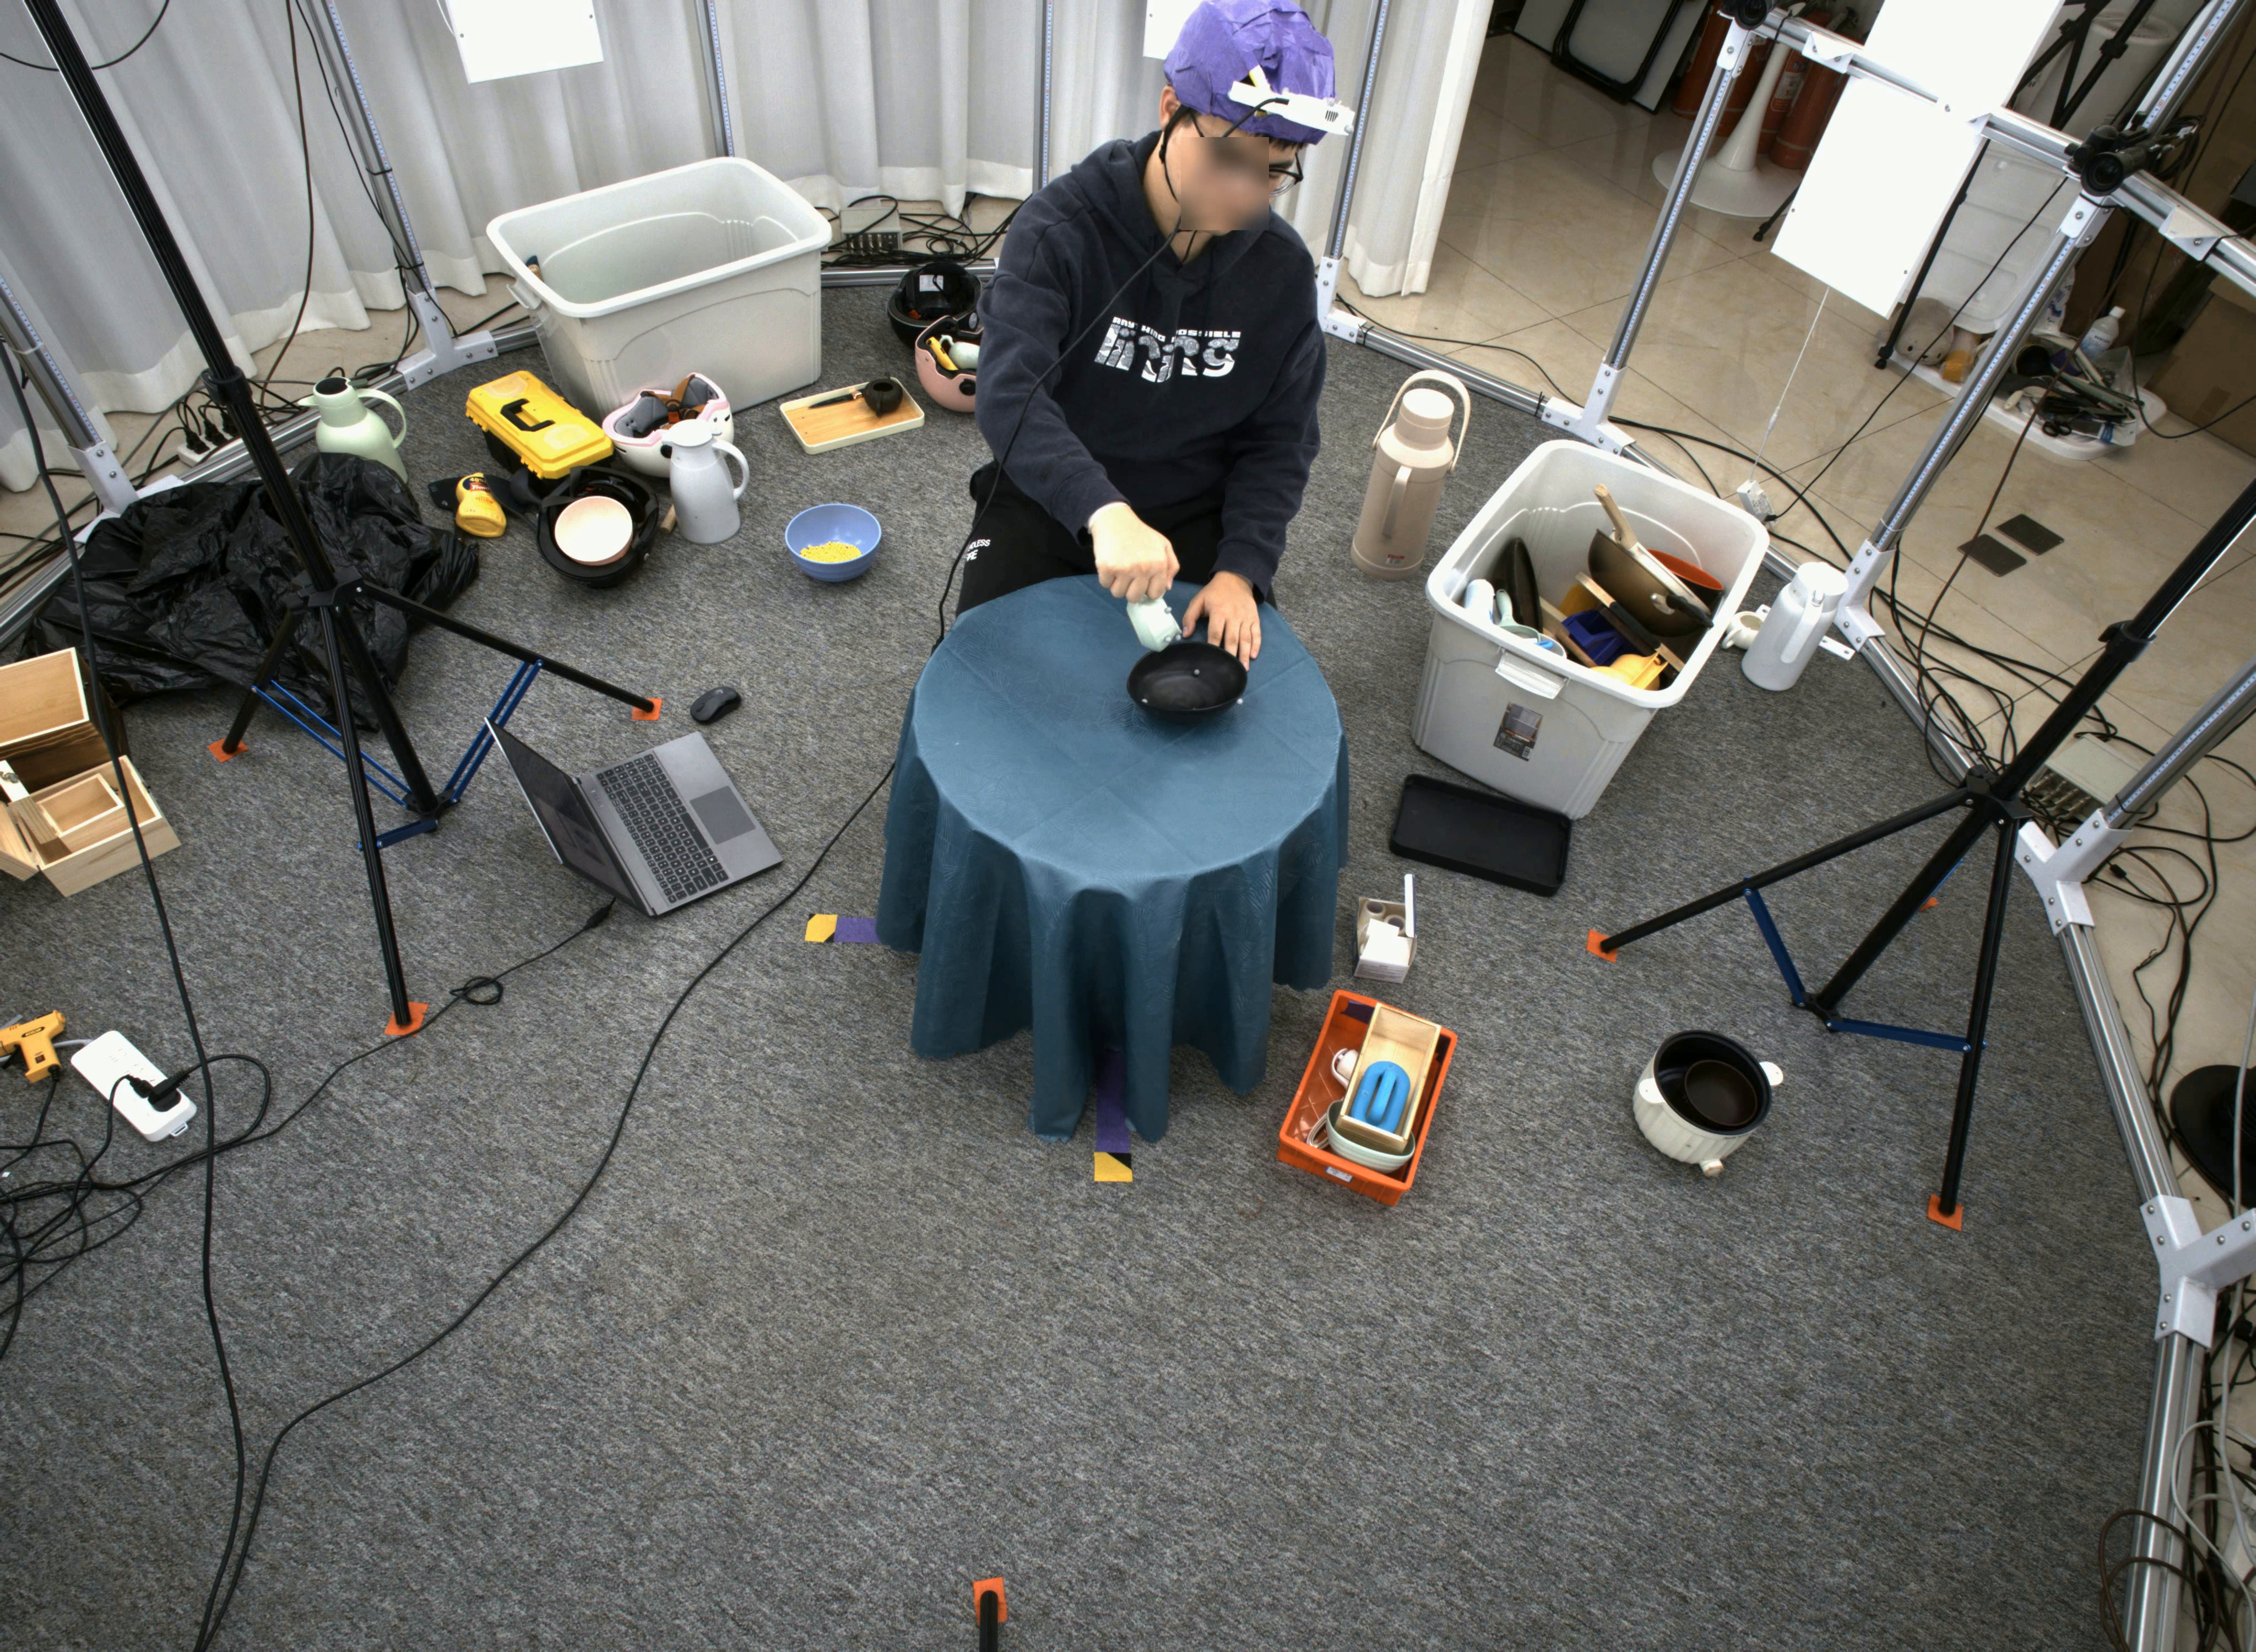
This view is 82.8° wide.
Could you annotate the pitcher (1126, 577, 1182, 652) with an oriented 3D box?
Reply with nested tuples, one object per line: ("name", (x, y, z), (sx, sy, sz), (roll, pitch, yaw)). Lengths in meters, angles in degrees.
("pitcher", (0.030, -0.276, 1.659), (0.060, 0.105, 0.088), (-26, 50, 2))

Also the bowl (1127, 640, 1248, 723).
("bowl", (0.083, -0.189, 1.795), (0.170, 0.065, 0.141), (-10, 50, -11))
